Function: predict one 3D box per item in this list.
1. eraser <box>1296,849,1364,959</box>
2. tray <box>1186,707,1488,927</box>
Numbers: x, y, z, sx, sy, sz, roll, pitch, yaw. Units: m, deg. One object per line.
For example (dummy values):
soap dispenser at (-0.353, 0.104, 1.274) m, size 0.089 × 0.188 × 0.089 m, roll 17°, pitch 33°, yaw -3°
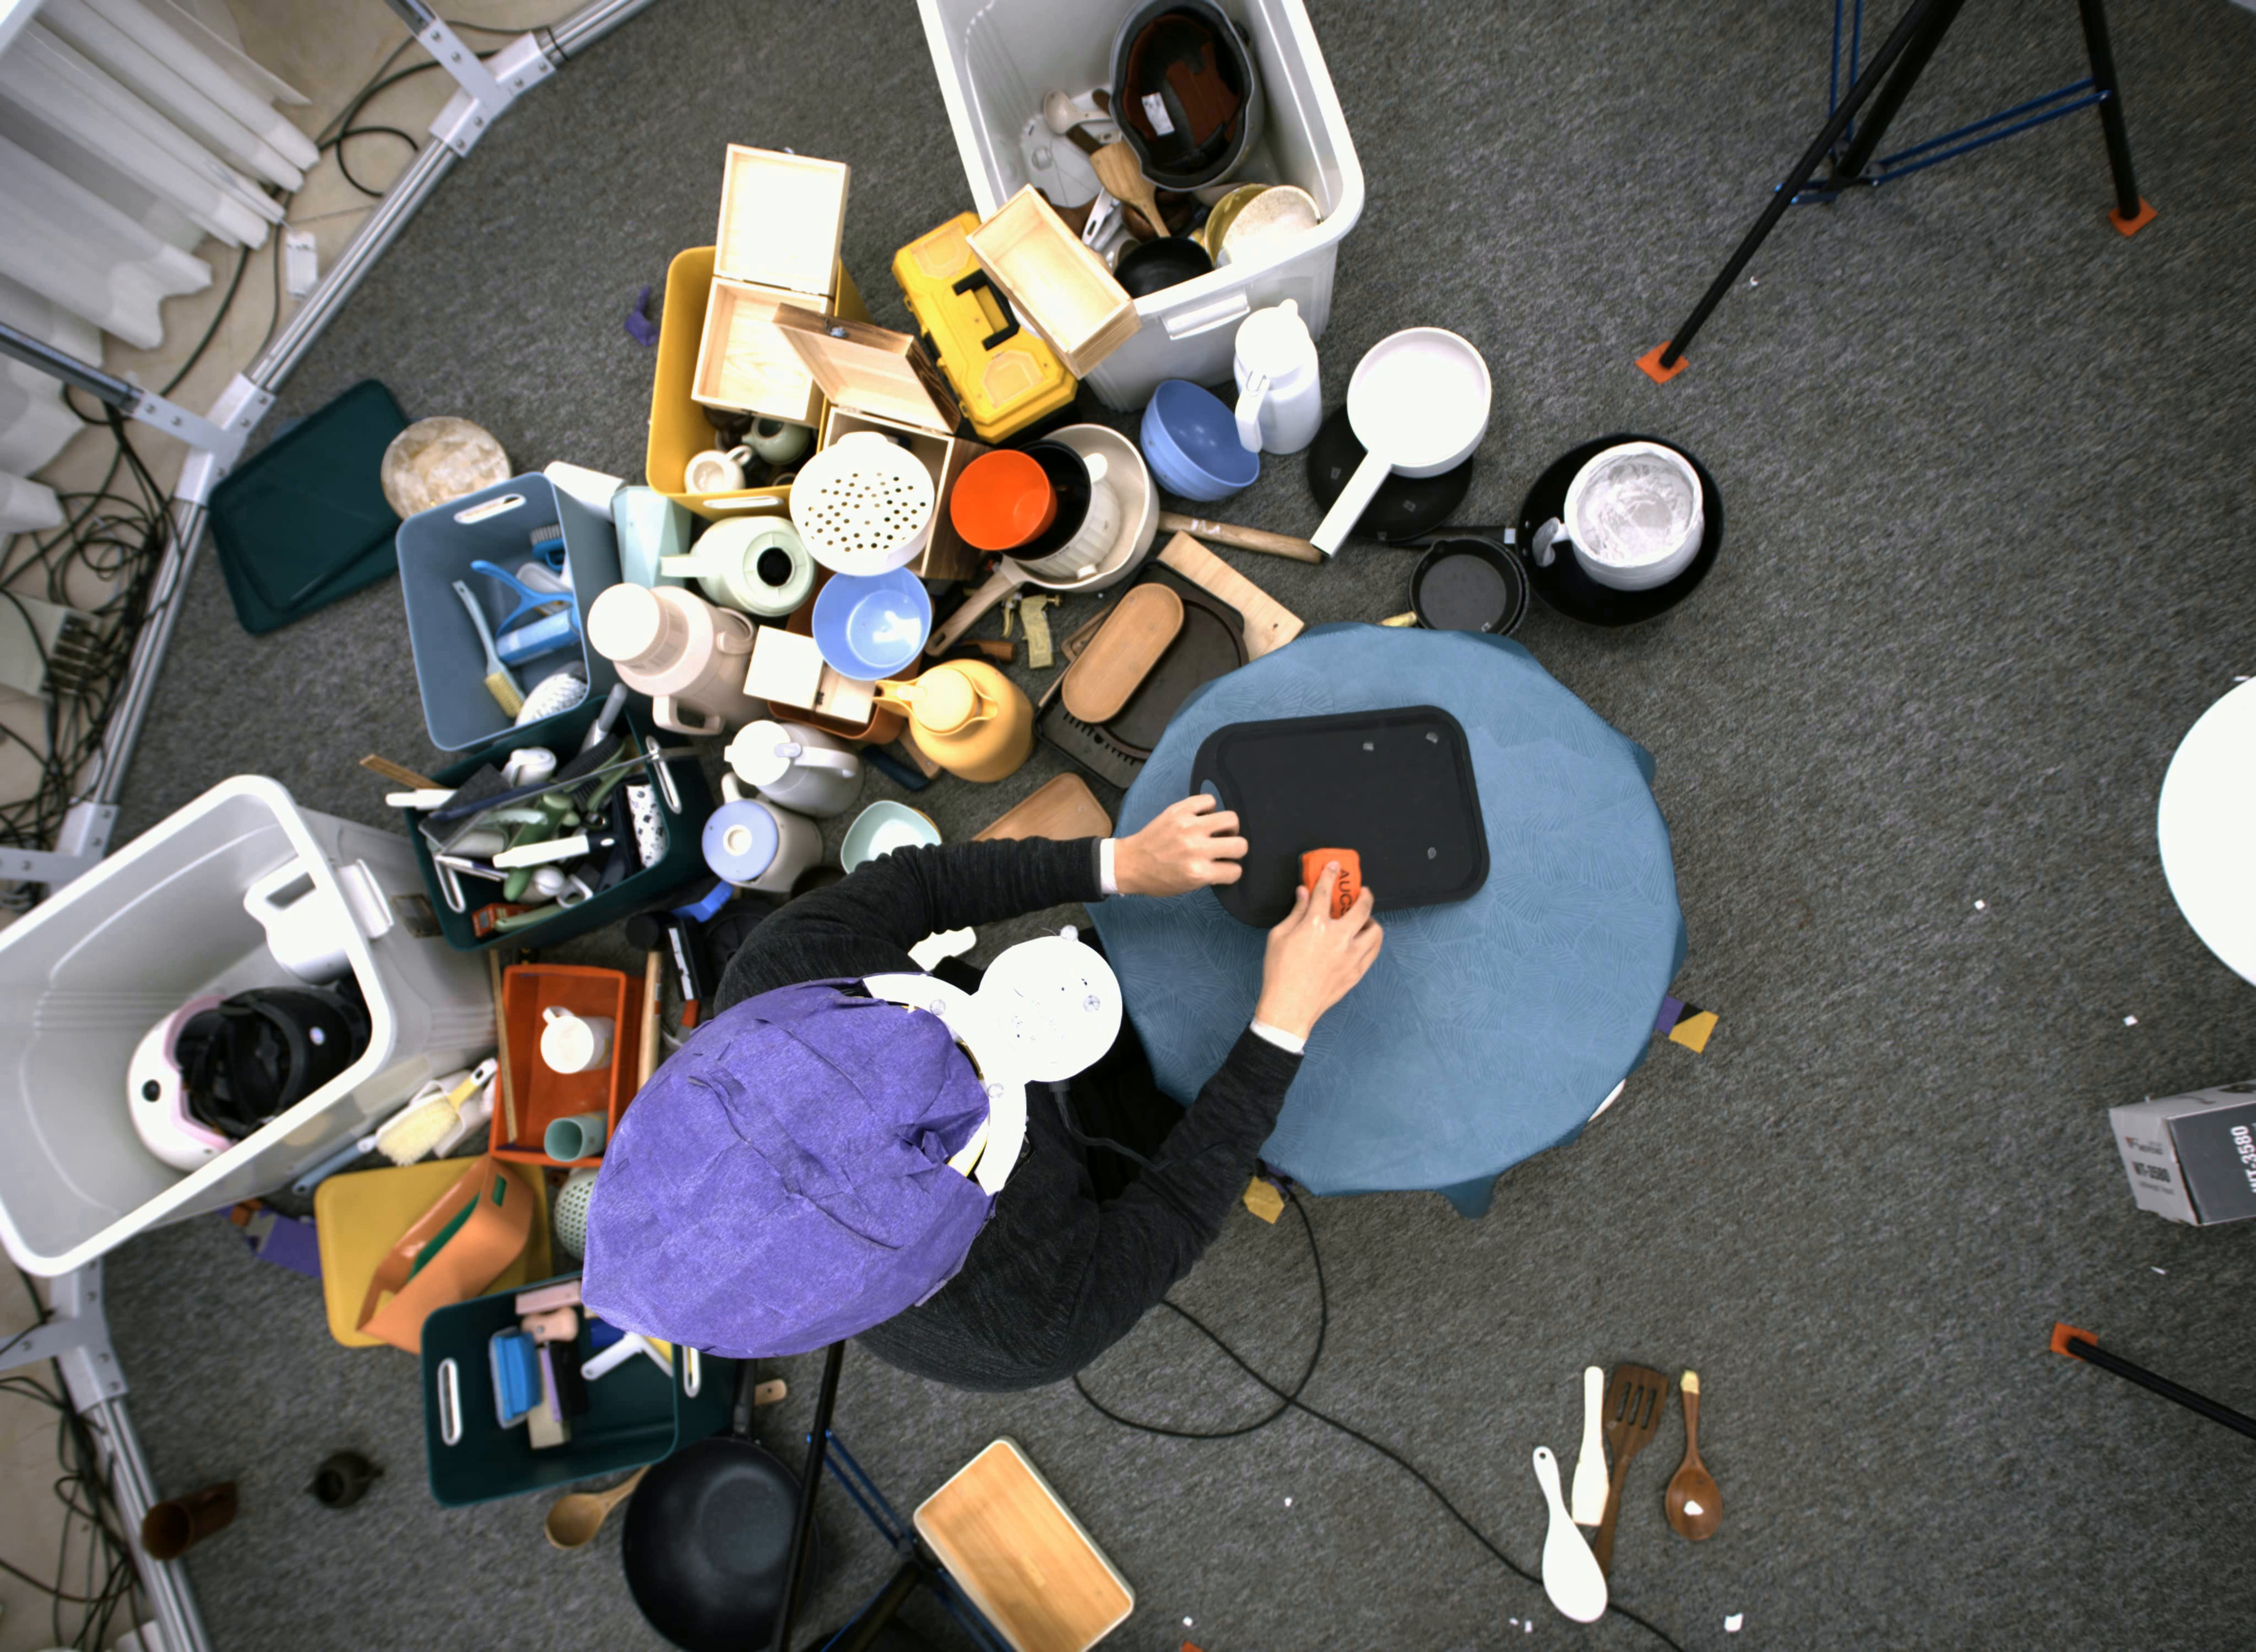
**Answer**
eraser at (0.200, 0.076, 1.372) m, size 0.059 × 0.023 × 0.107 m, roll -2°, pitch 85°, yaw -14°
tray at (0.215, -0.013, 1.401) m, size 0.324 × 0.010 × 0.210 m, roll -6°, pitch 84°, yaw -16°
